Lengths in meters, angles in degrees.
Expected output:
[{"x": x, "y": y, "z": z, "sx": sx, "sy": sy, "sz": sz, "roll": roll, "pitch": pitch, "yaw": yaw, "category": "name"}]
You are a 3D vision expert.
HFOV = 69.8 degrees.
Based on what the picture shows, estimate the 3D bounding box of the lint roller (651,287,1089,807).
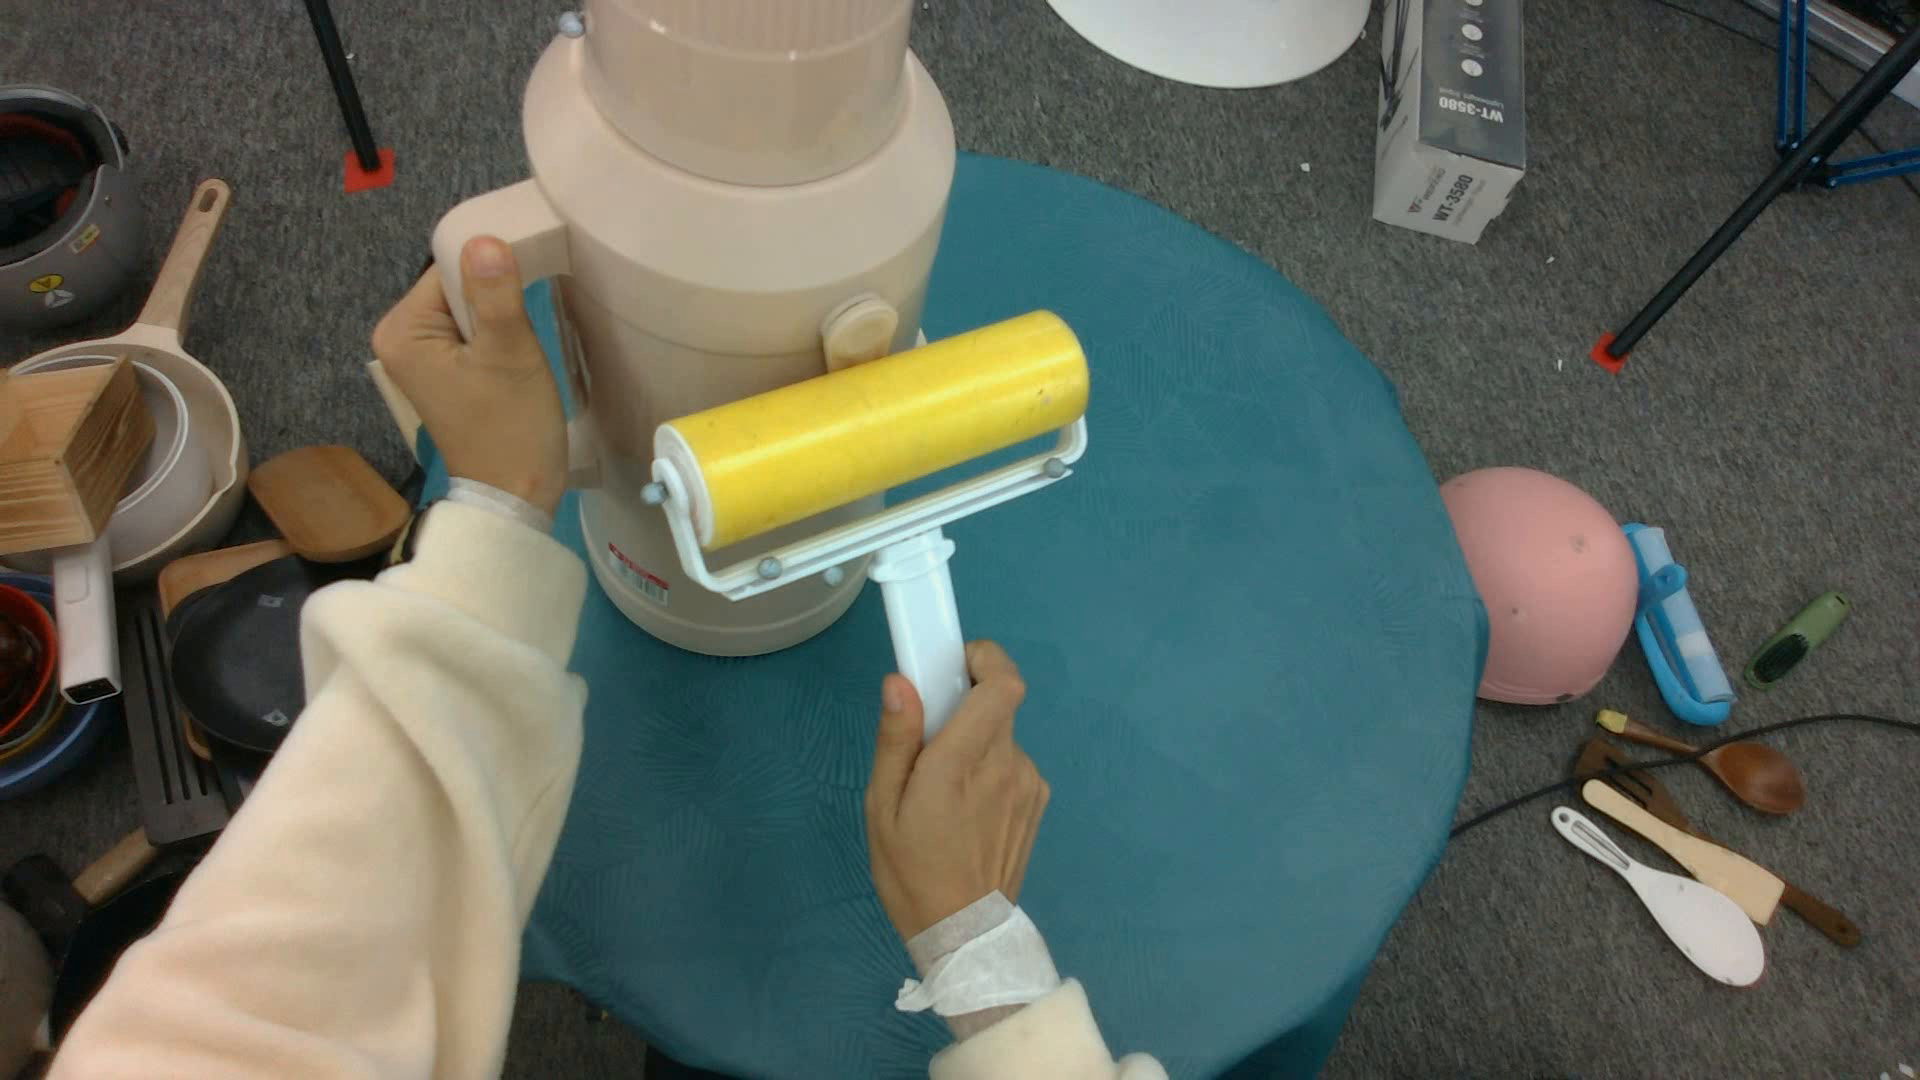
[{"x": -0.010, "y": 0.017, "z": 0.525, "sx": 0.175, "sy": 0.051, "sz": 0.192, "roll": -22, "pitch": 101, "yaw": -27, "category": "lint roller"}]

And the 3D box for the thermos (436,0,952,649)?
[{"x": -0.107, "y": -0.103, "z": 0.588, "sx": 0.208, "sy": 0.404, "sz": 0.175, "roll": -27, "pitch": 69, "yaw": -24, "category": "thermos"}]
